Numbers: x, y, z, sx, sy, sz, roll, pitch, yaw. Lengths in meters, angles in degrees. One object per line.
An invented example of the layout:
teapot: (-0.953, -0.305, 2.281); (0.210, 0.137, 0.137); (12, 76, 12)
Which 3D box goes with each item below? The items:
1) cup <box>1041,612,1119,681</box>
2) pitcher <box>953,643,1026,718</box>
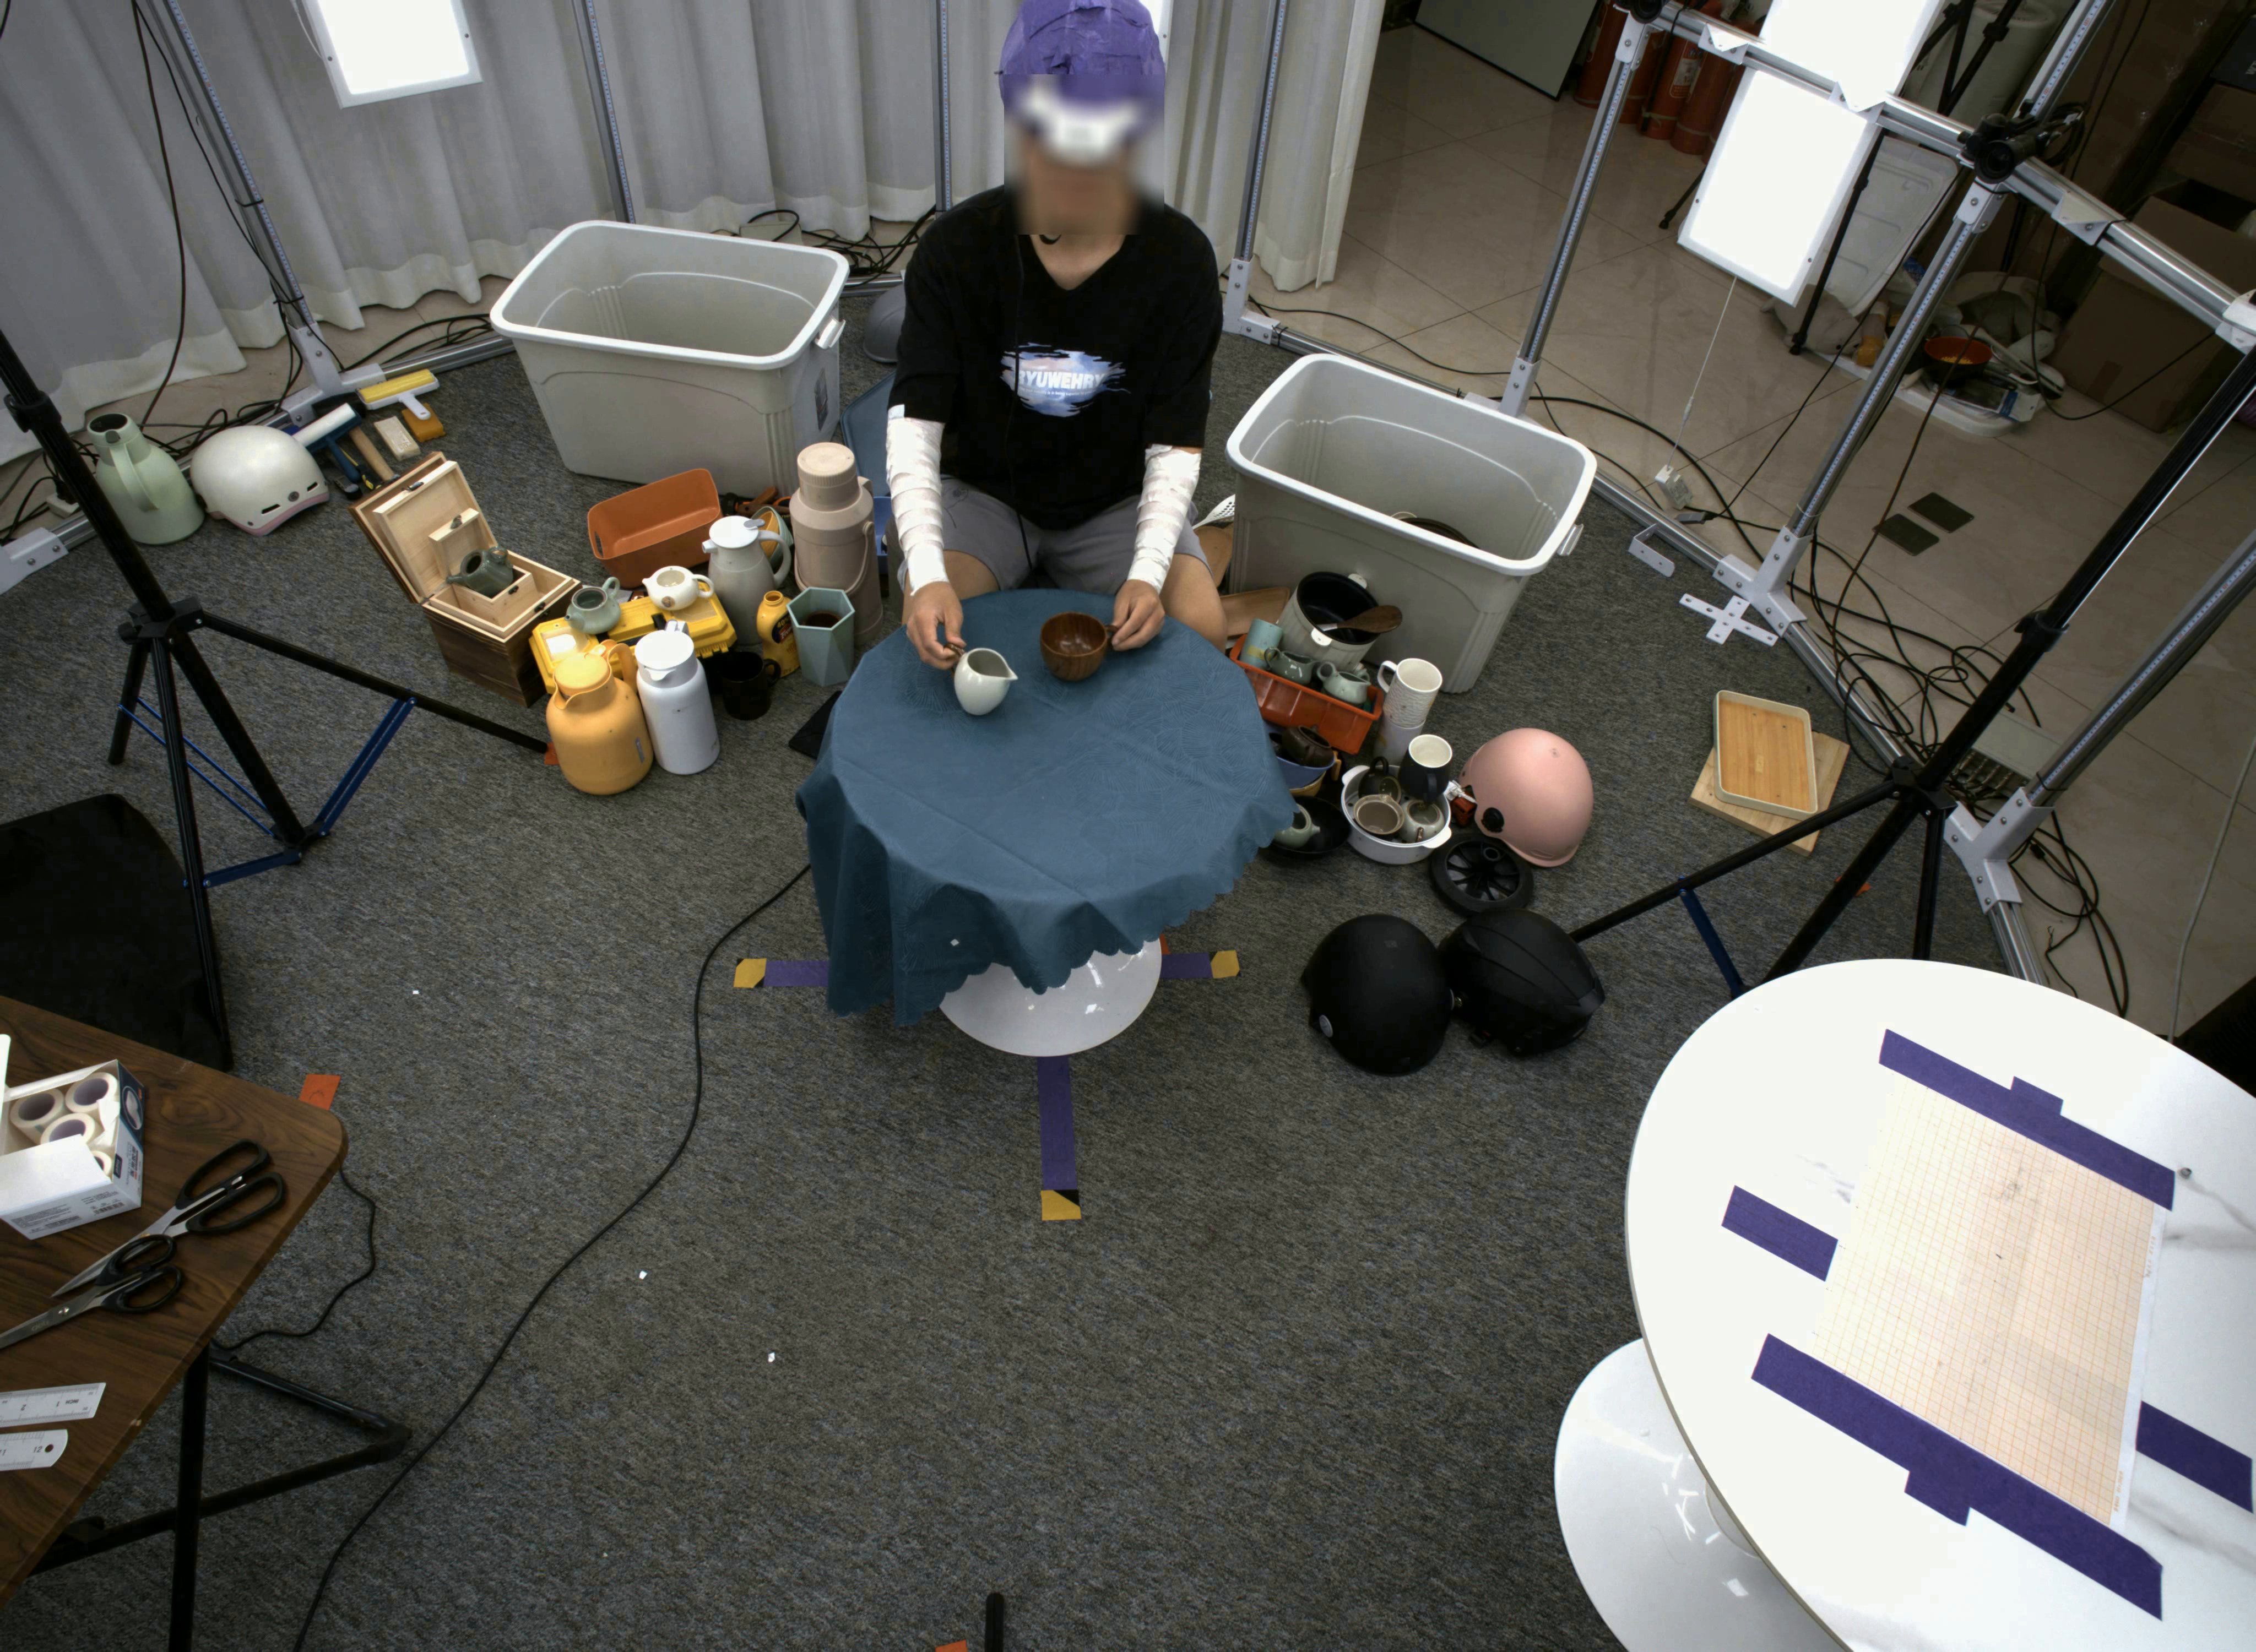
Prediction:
cup: (-0.066, -0.256, 1.847); (0.119, 0.066, 0.098); (-18, 50, -20)
pitcher: (-0.199, -0.198, 1.770); (0.120, 0.086, 0.077); (39, 48, 10)
